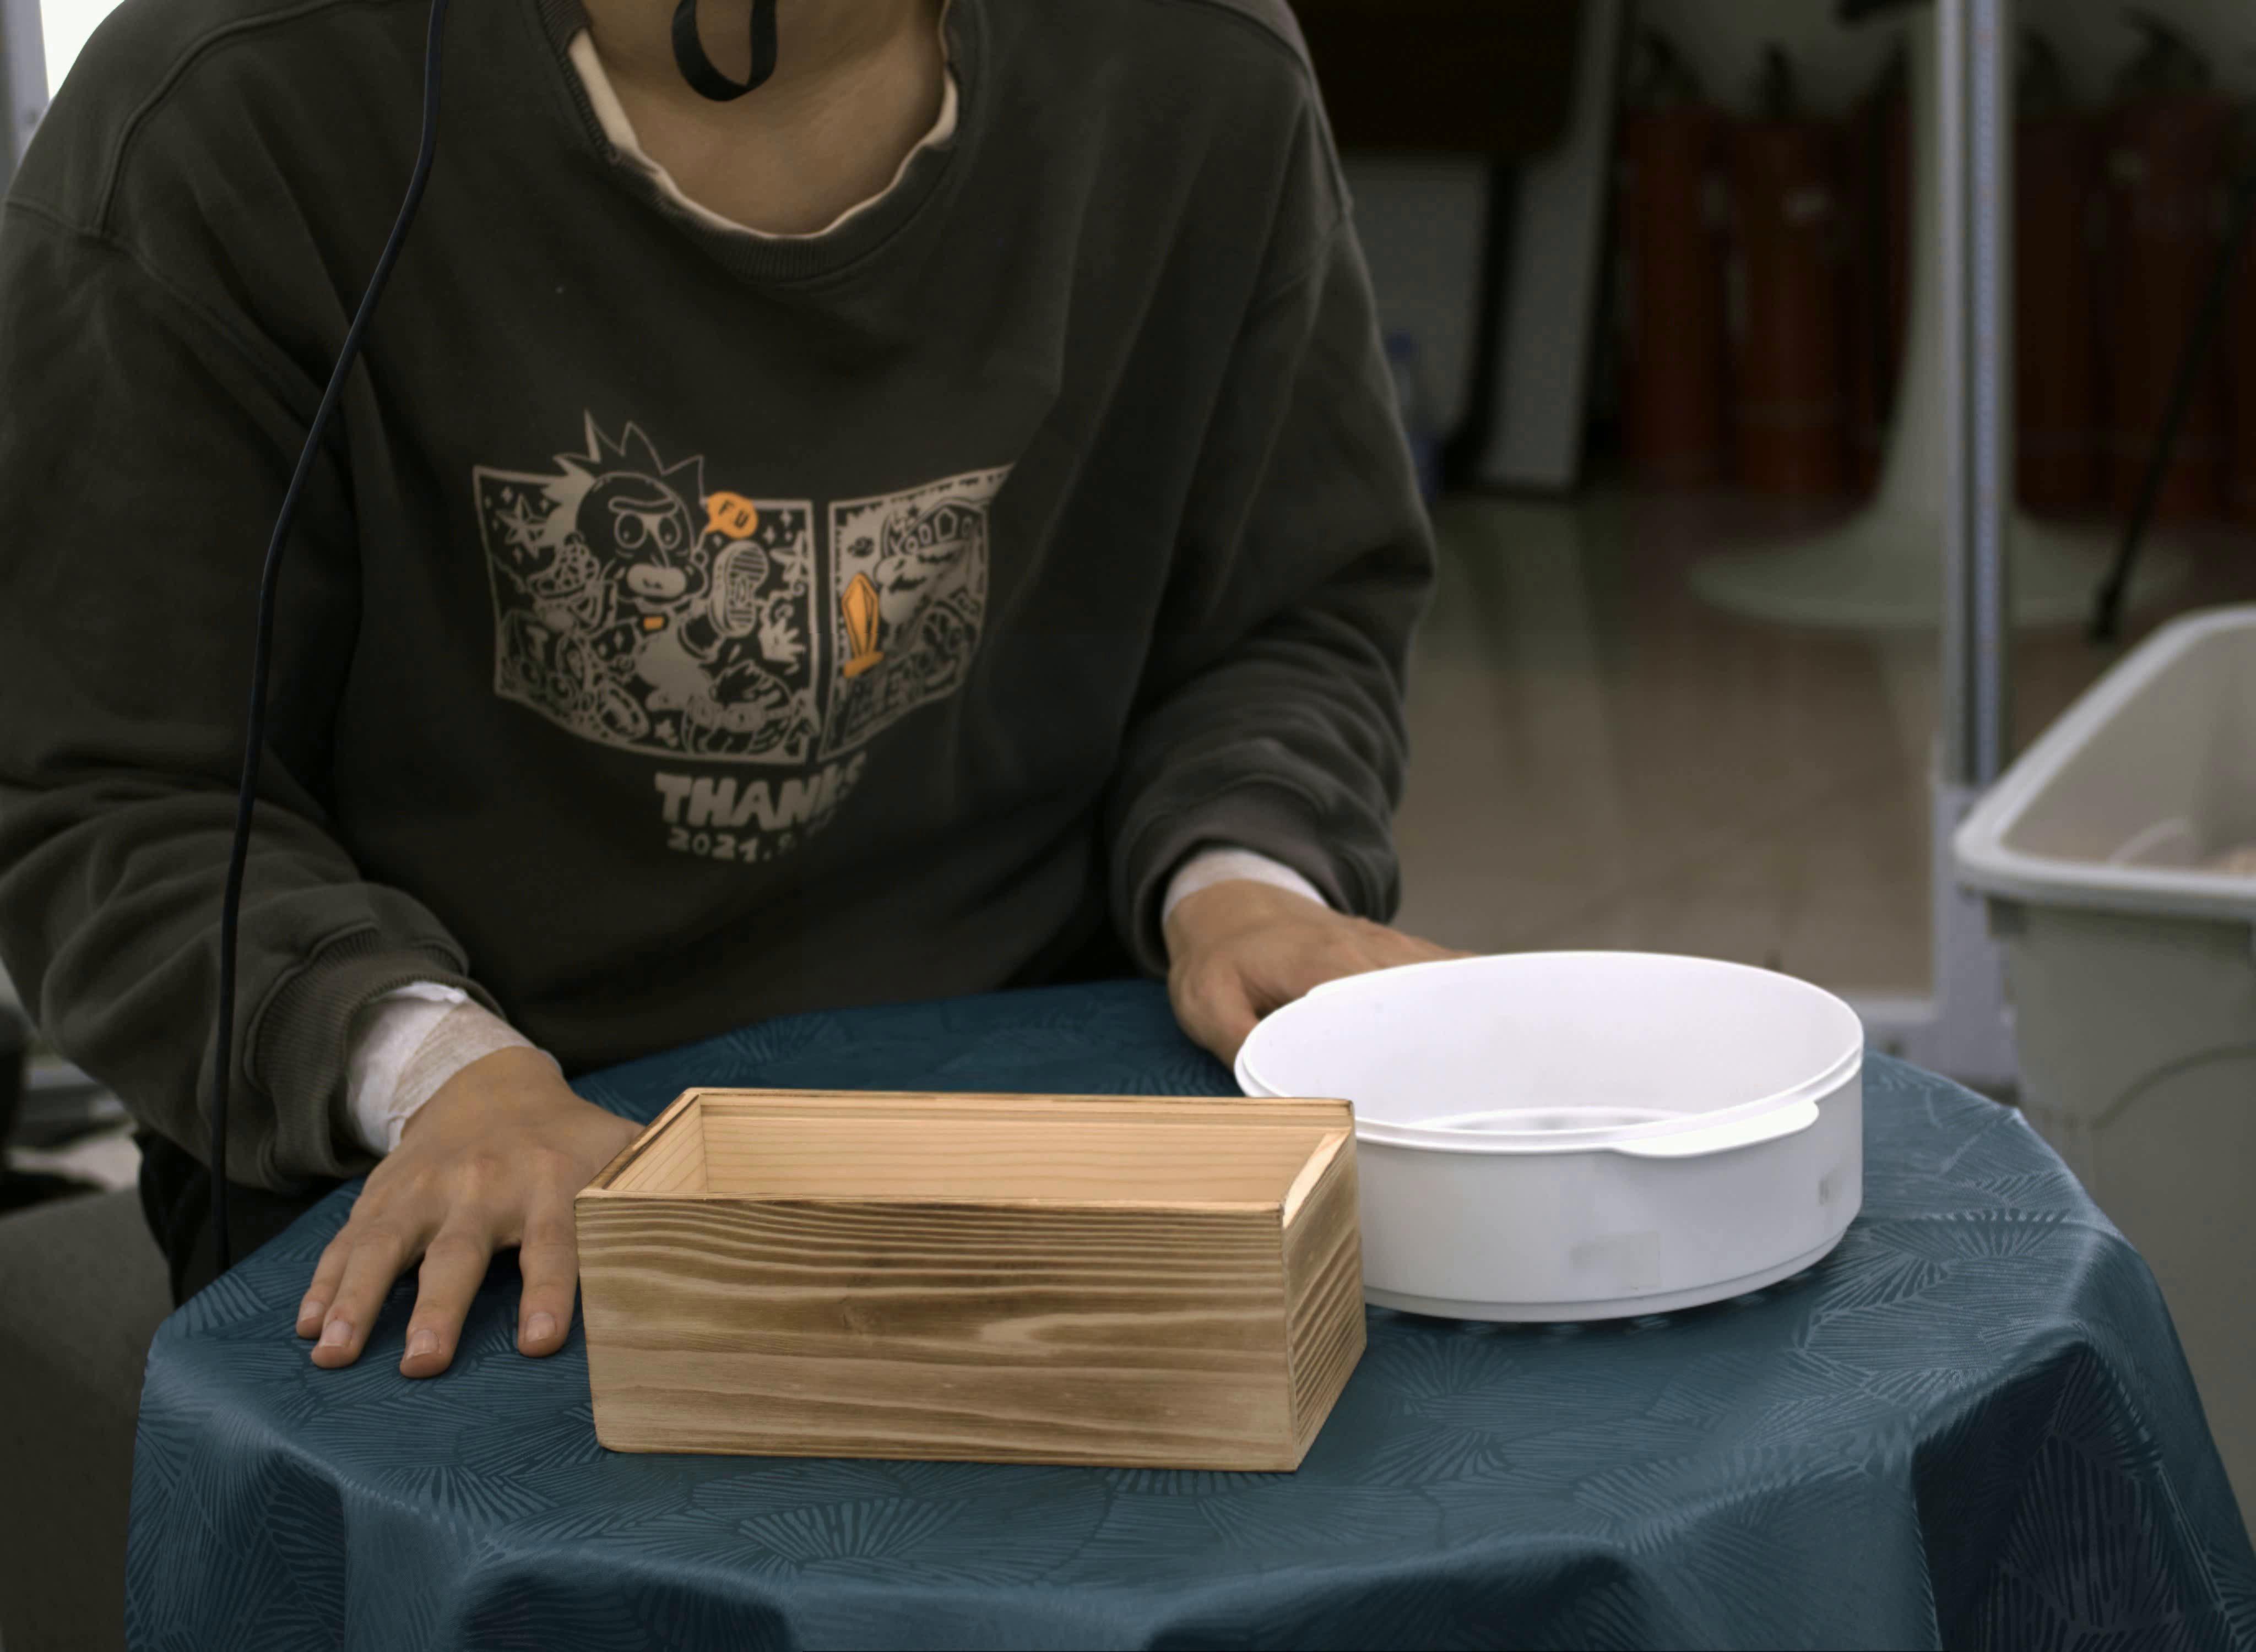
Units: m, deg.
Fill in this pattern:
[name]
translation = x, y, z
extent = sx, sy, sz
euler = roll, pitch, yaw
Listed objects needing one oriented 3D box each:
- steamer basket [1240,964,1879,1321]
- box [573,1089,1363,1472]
[steamer basket]
translation = 0.136, 0.099, 1.684
extent = 0.197, 0.070, 0.233
euler = -10, 13, -24
[box]
translation = -0.044, 0.131, 1.579
extent = 0.210, 0.081, 0.107
euler = 0, 13, 15
